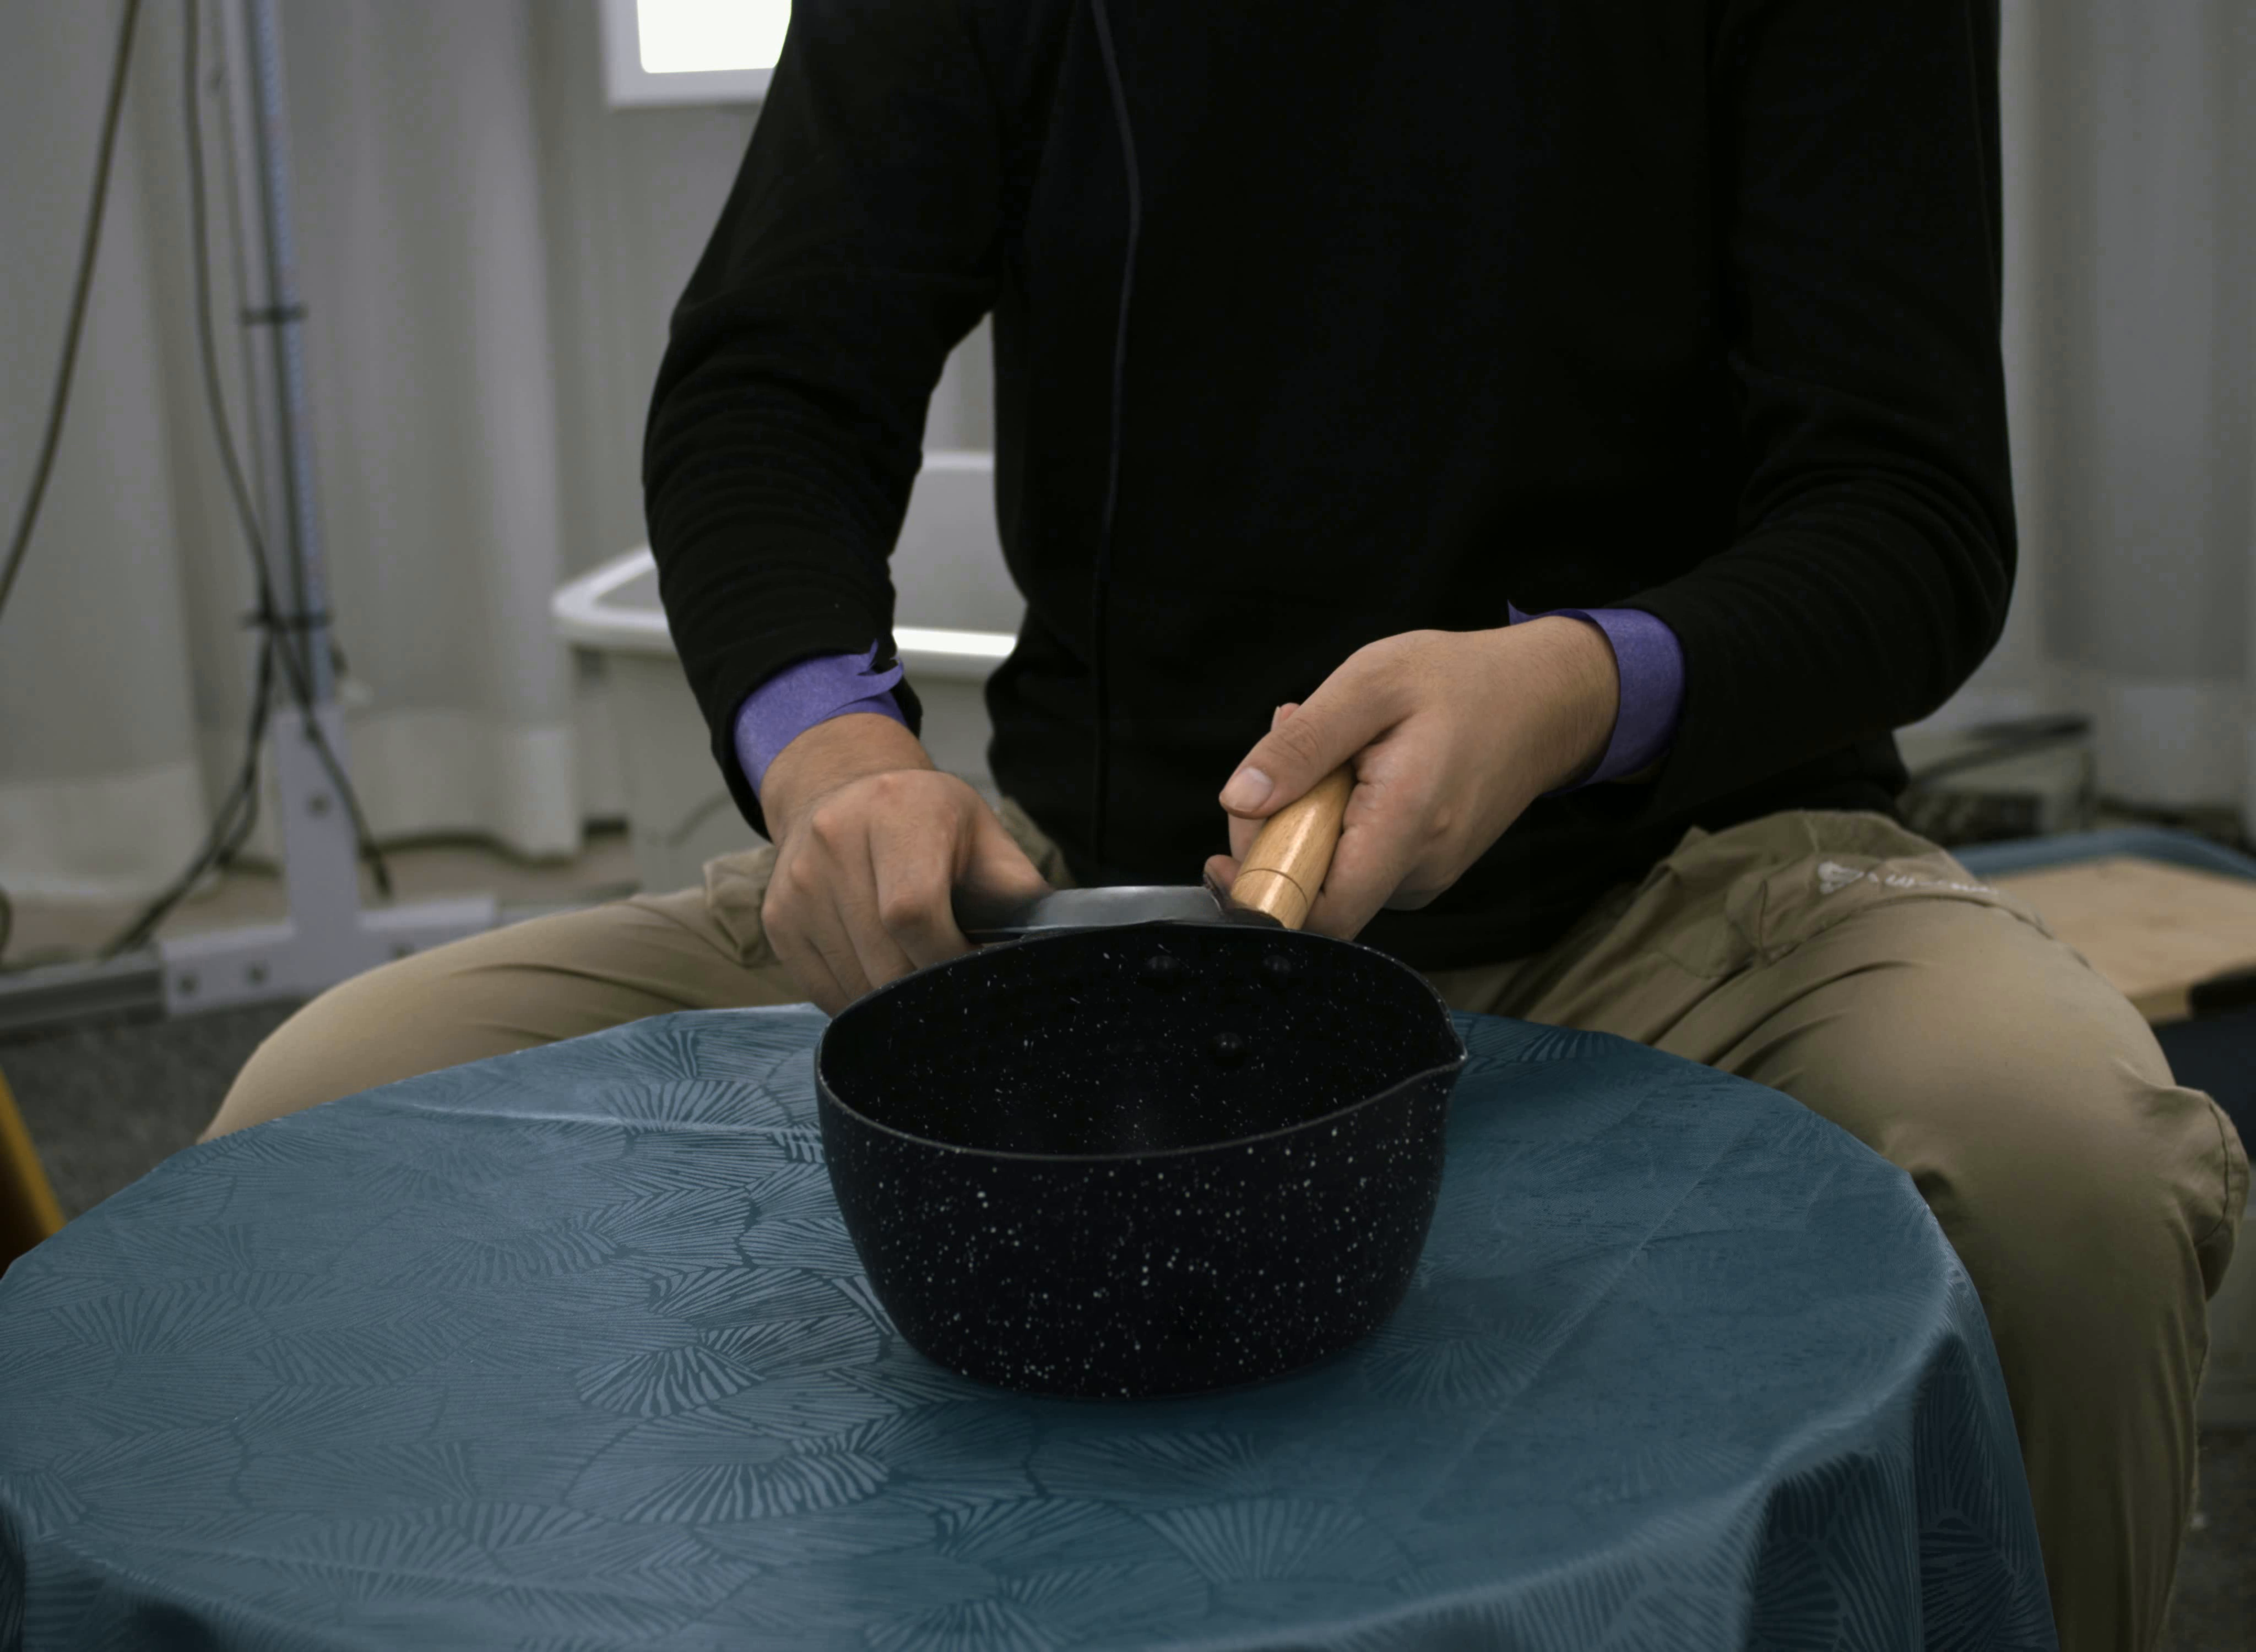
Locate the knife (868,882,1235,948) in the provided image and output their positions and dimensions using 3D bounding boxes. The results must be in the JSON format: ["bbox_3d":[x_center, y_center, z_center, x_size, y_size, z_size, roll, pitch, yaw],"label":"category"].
[{"bbox_3d":[-0.027,0.027,1.700,0.024,0.016,0.238,-39,15,-23],"label":"knife"}]

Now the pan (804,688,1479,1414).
[{"bbox_3d":[0.025,0.063,1.659,0.207,0.107,0.345,1,21,18],"label":"pan"}]
